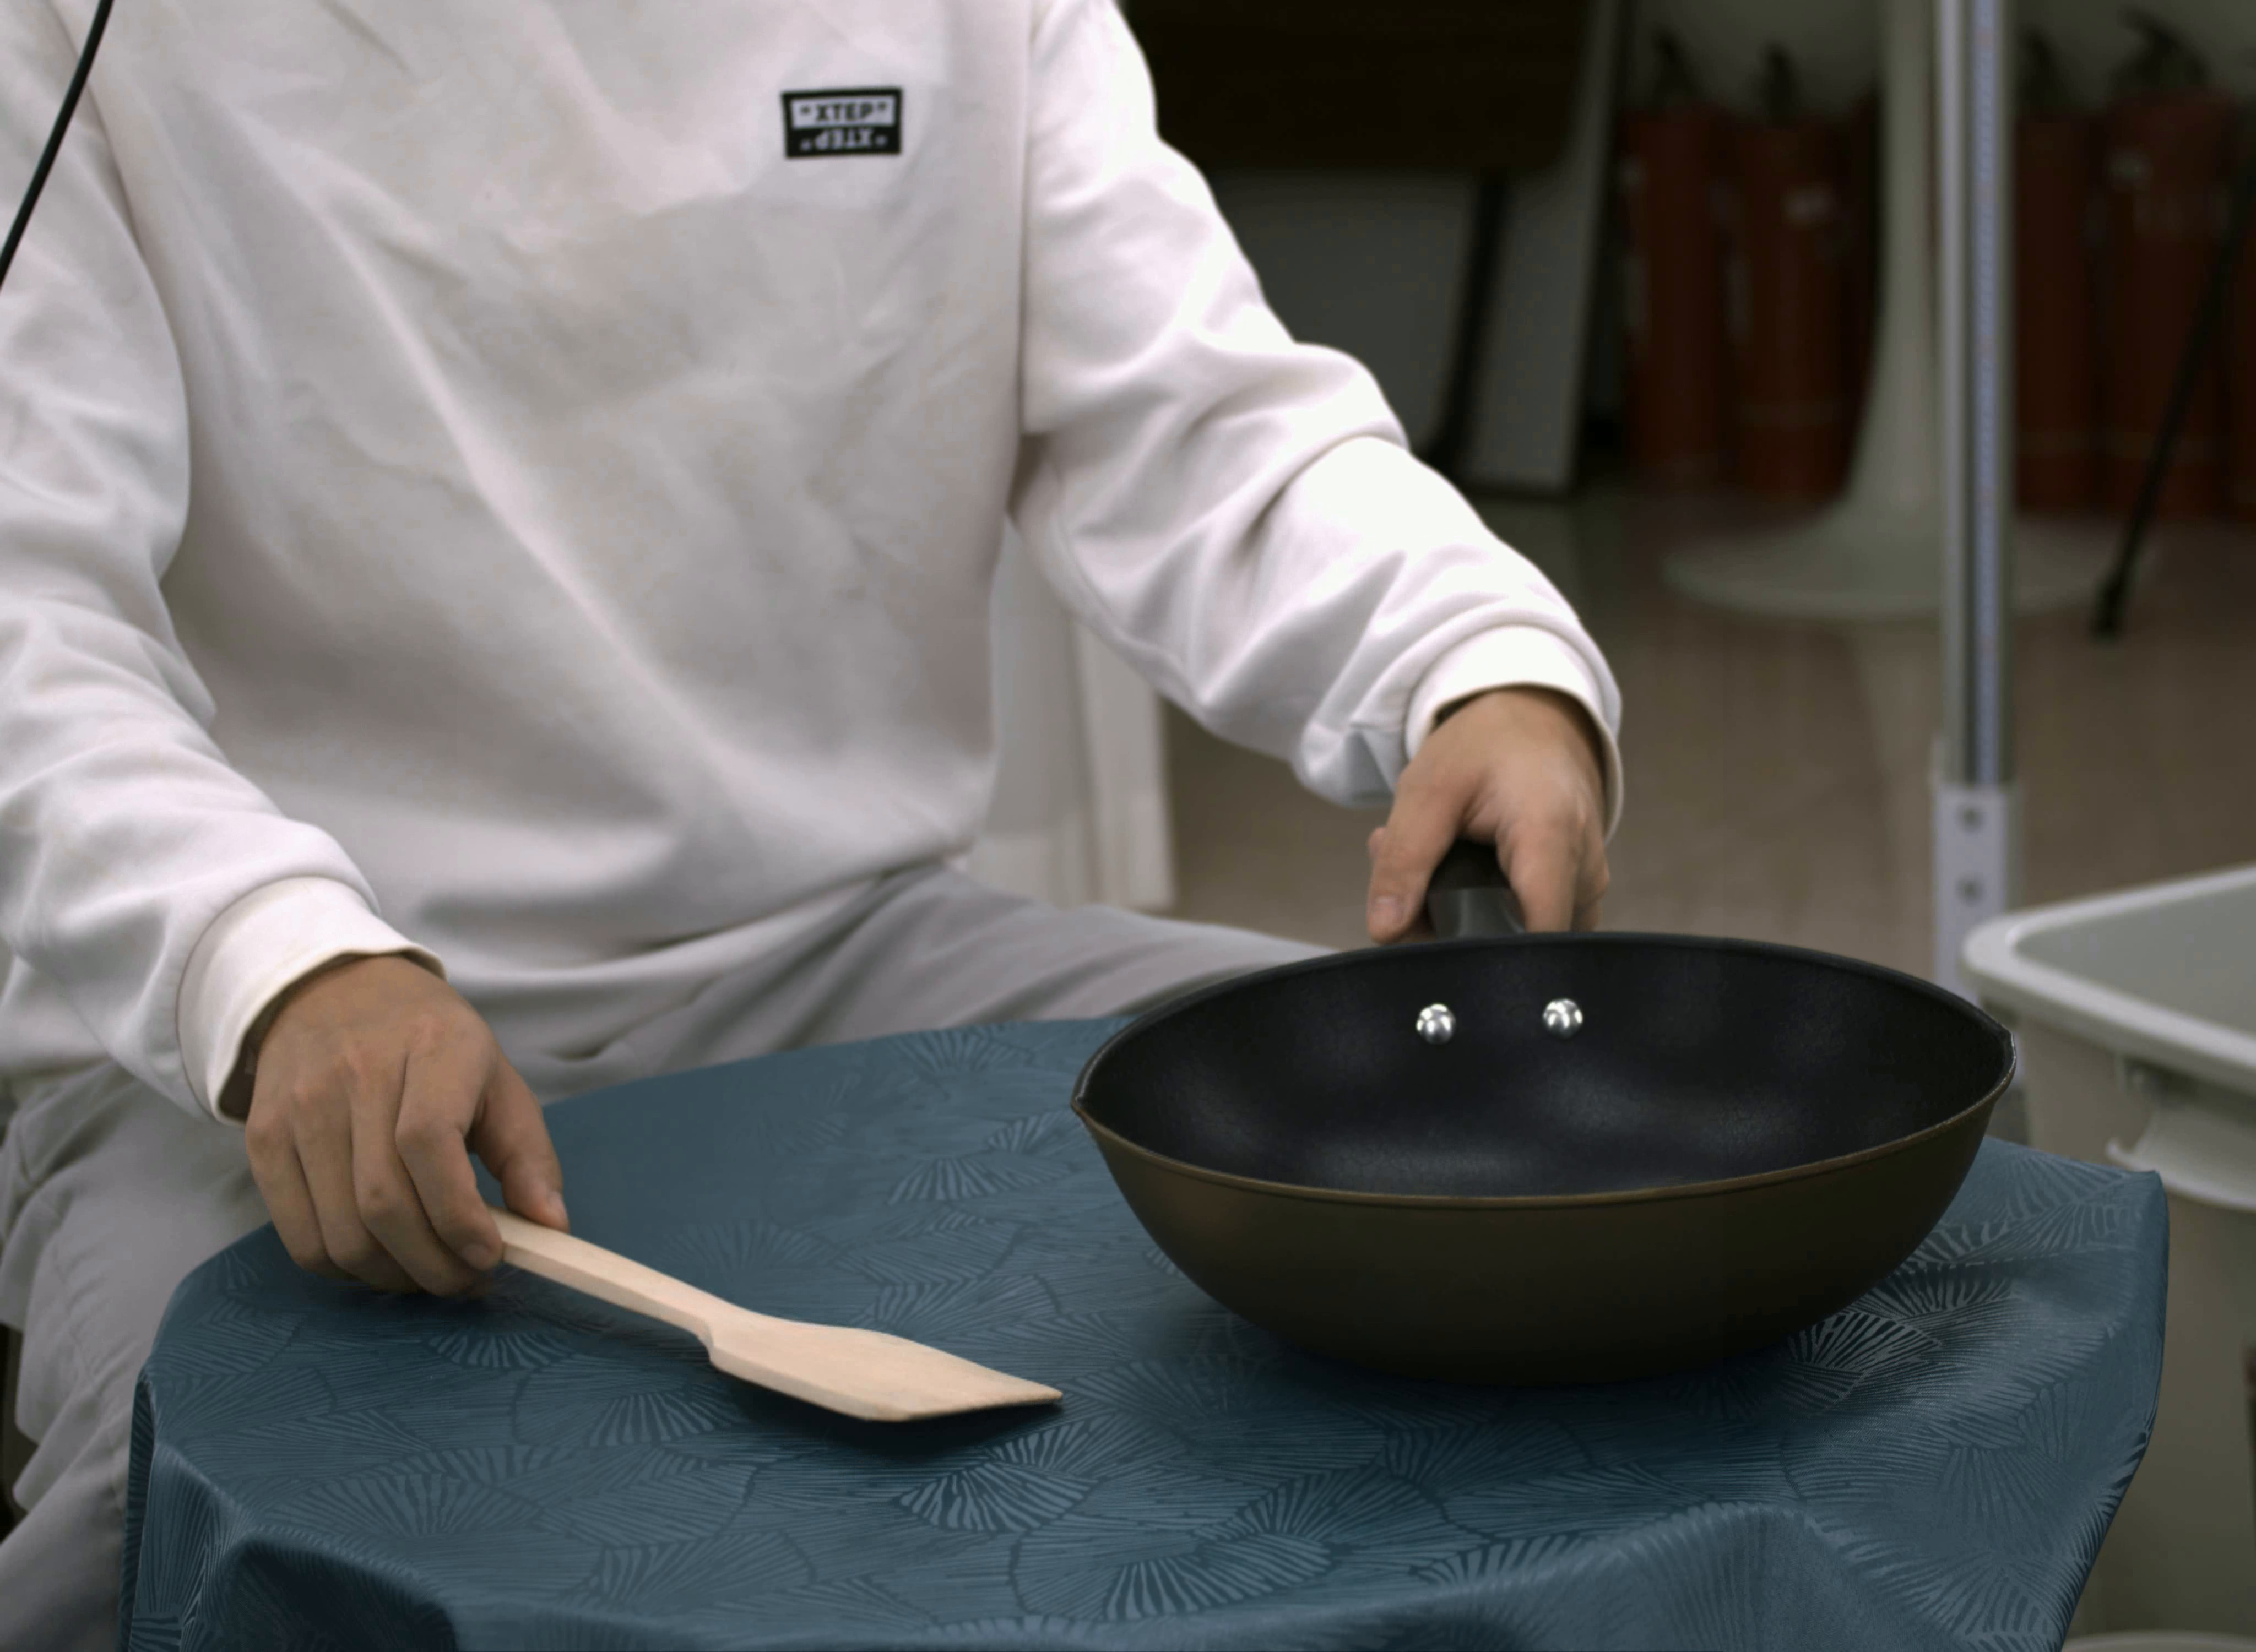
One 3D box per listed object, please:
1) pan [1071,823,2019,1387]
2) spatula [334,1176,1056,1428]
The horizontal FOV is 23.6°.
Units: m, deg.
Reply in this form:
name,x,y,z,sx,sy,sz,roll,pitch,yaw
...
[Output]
name,x,y,z,sx,sy,sz,roll,pitch,yaw
pan,0.123,0.086,1.711,0.284,0.088,0.464,-3,13,-1
spatula,-0.146,0.144,1.652,0.296,0.011,0.070,14,12,43
